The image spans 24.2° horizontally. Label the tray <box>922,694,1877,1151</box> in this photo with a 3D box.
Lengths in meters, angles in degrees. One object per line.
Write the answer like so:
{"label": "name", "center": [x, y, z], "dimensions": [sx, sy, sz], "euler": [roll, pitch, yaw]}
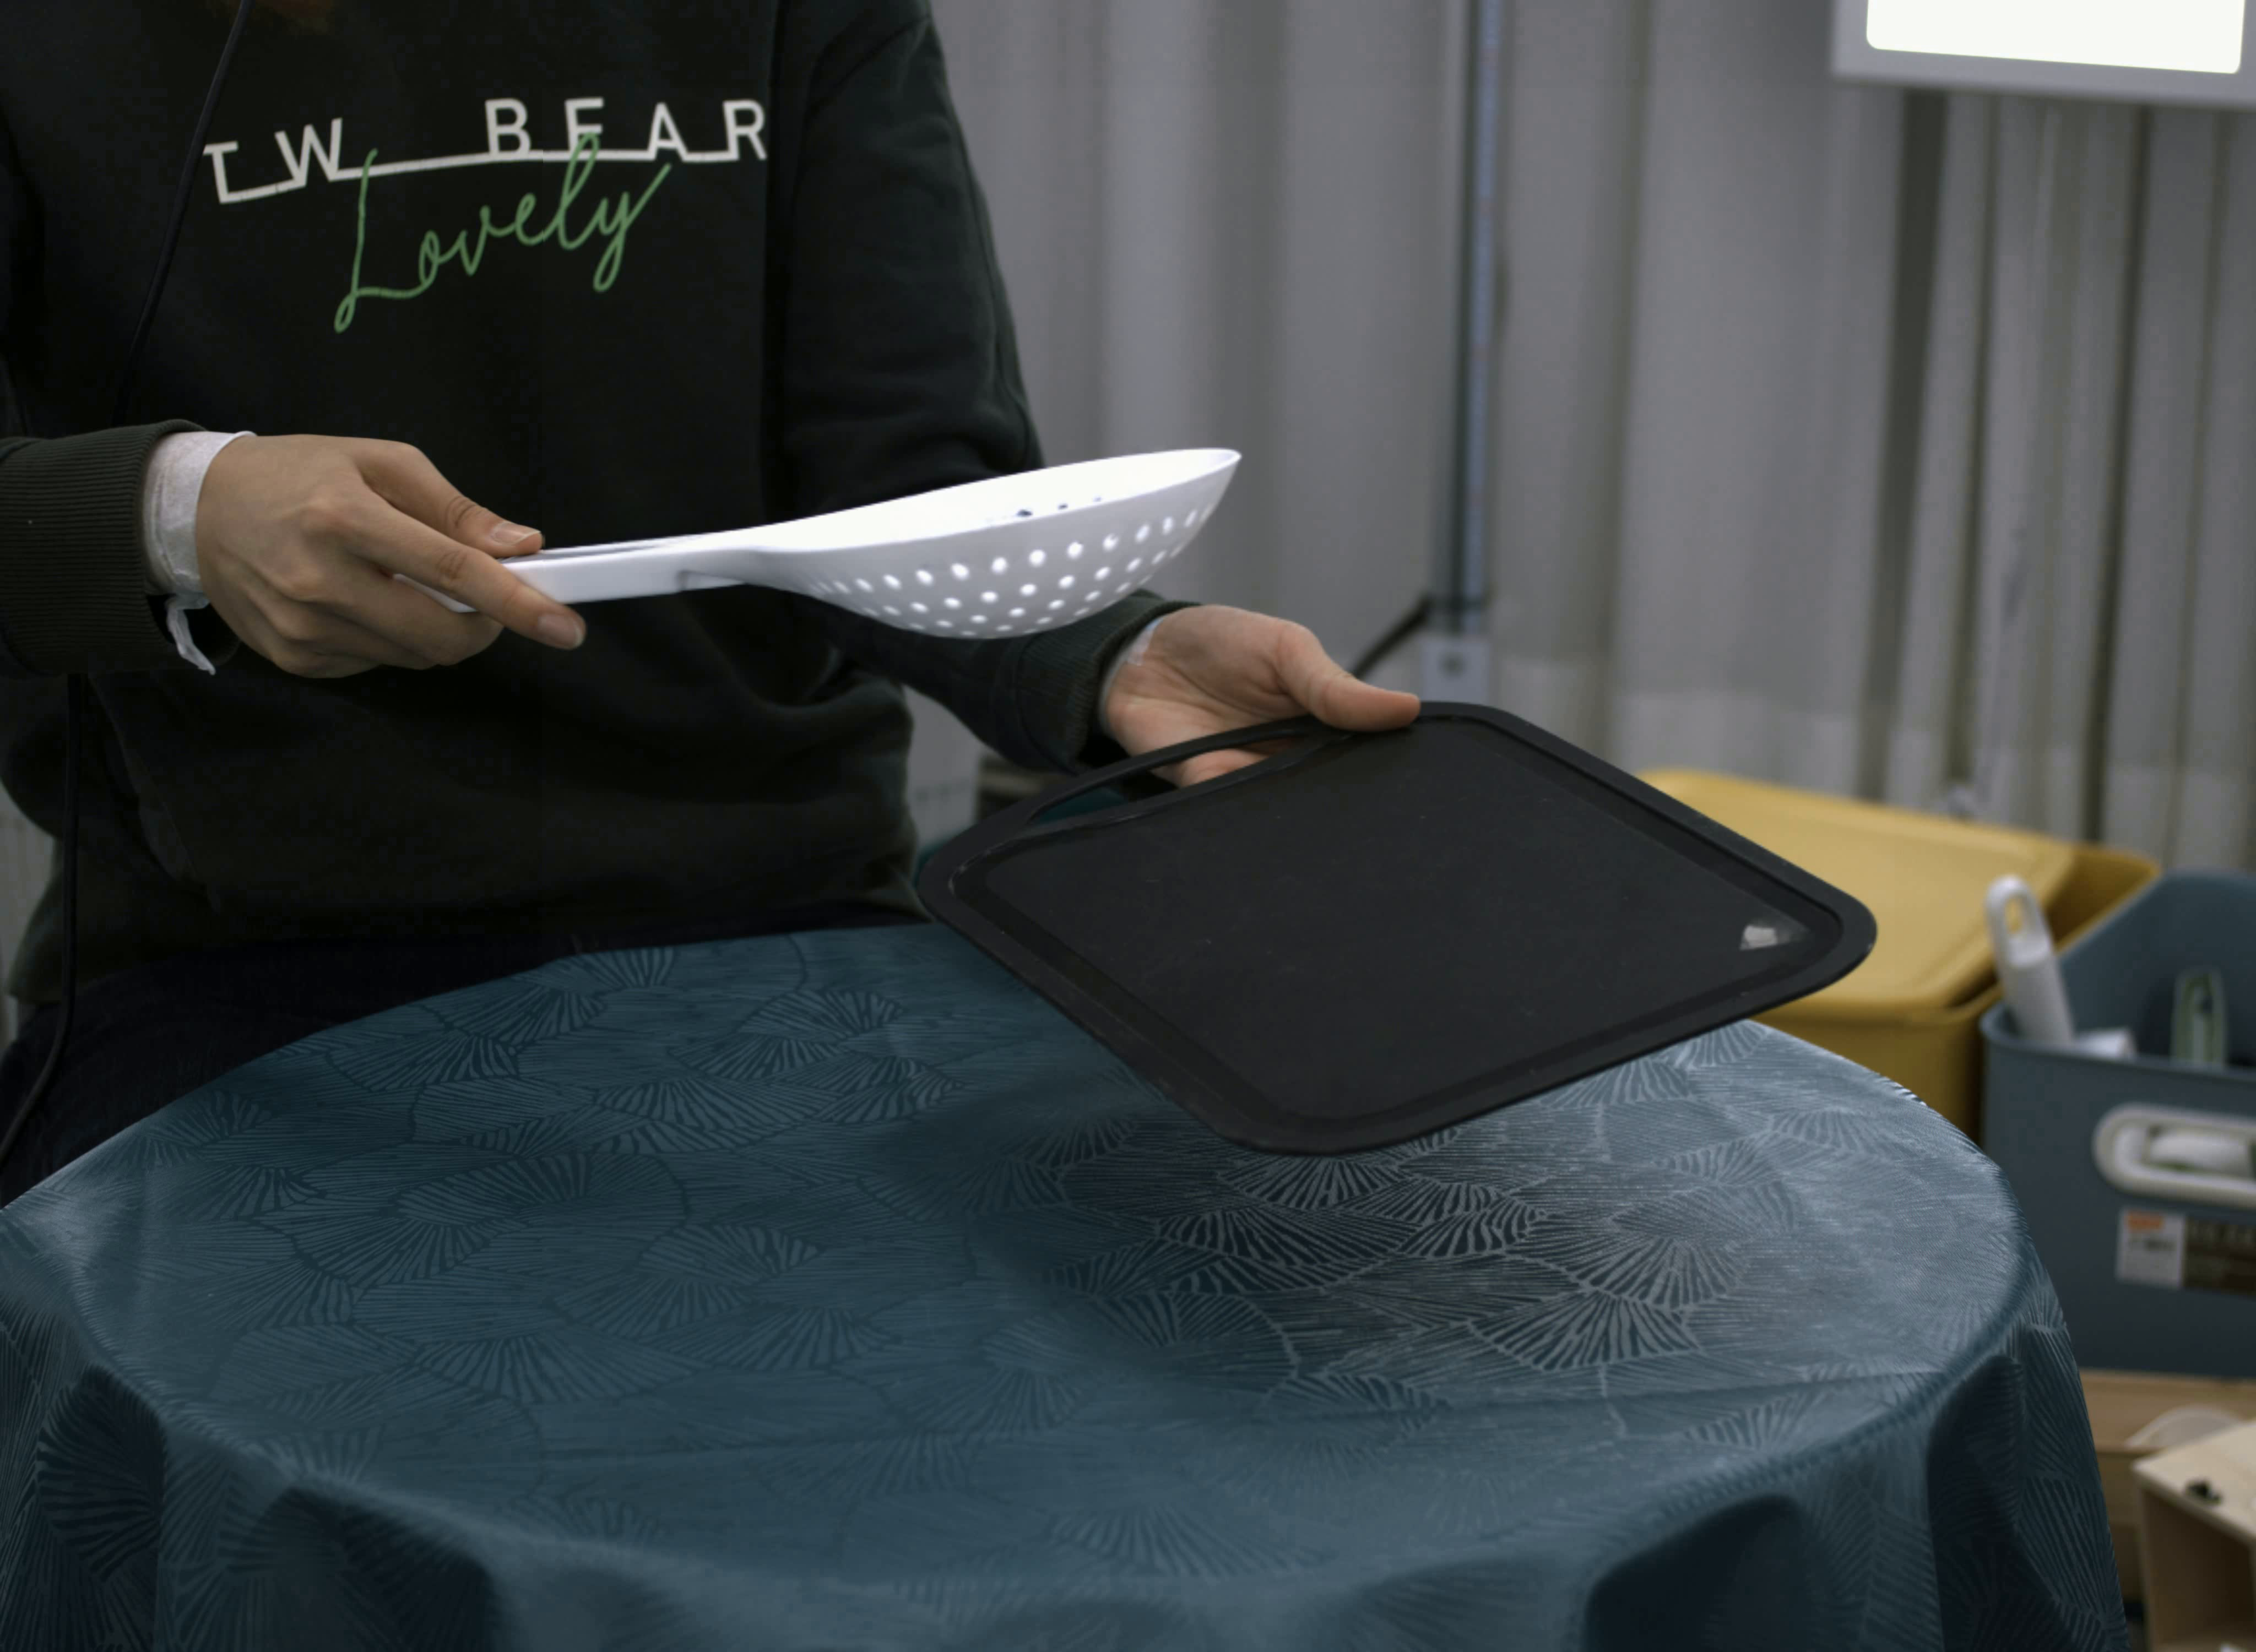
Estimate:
{"label": "tray", "center": [0.070, 0.020, 1.598], "dimensions": [0.211, 0.010, 0.321], "euler": [-18, 24, -19]}

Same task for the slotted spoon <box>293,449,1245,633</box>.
{"label": "slotted spoon", "center": [-0.119, -0.082, 1.575], "dimensions": [0.346, 0.046, 0.136], "euler": [2, 13, 35]}
